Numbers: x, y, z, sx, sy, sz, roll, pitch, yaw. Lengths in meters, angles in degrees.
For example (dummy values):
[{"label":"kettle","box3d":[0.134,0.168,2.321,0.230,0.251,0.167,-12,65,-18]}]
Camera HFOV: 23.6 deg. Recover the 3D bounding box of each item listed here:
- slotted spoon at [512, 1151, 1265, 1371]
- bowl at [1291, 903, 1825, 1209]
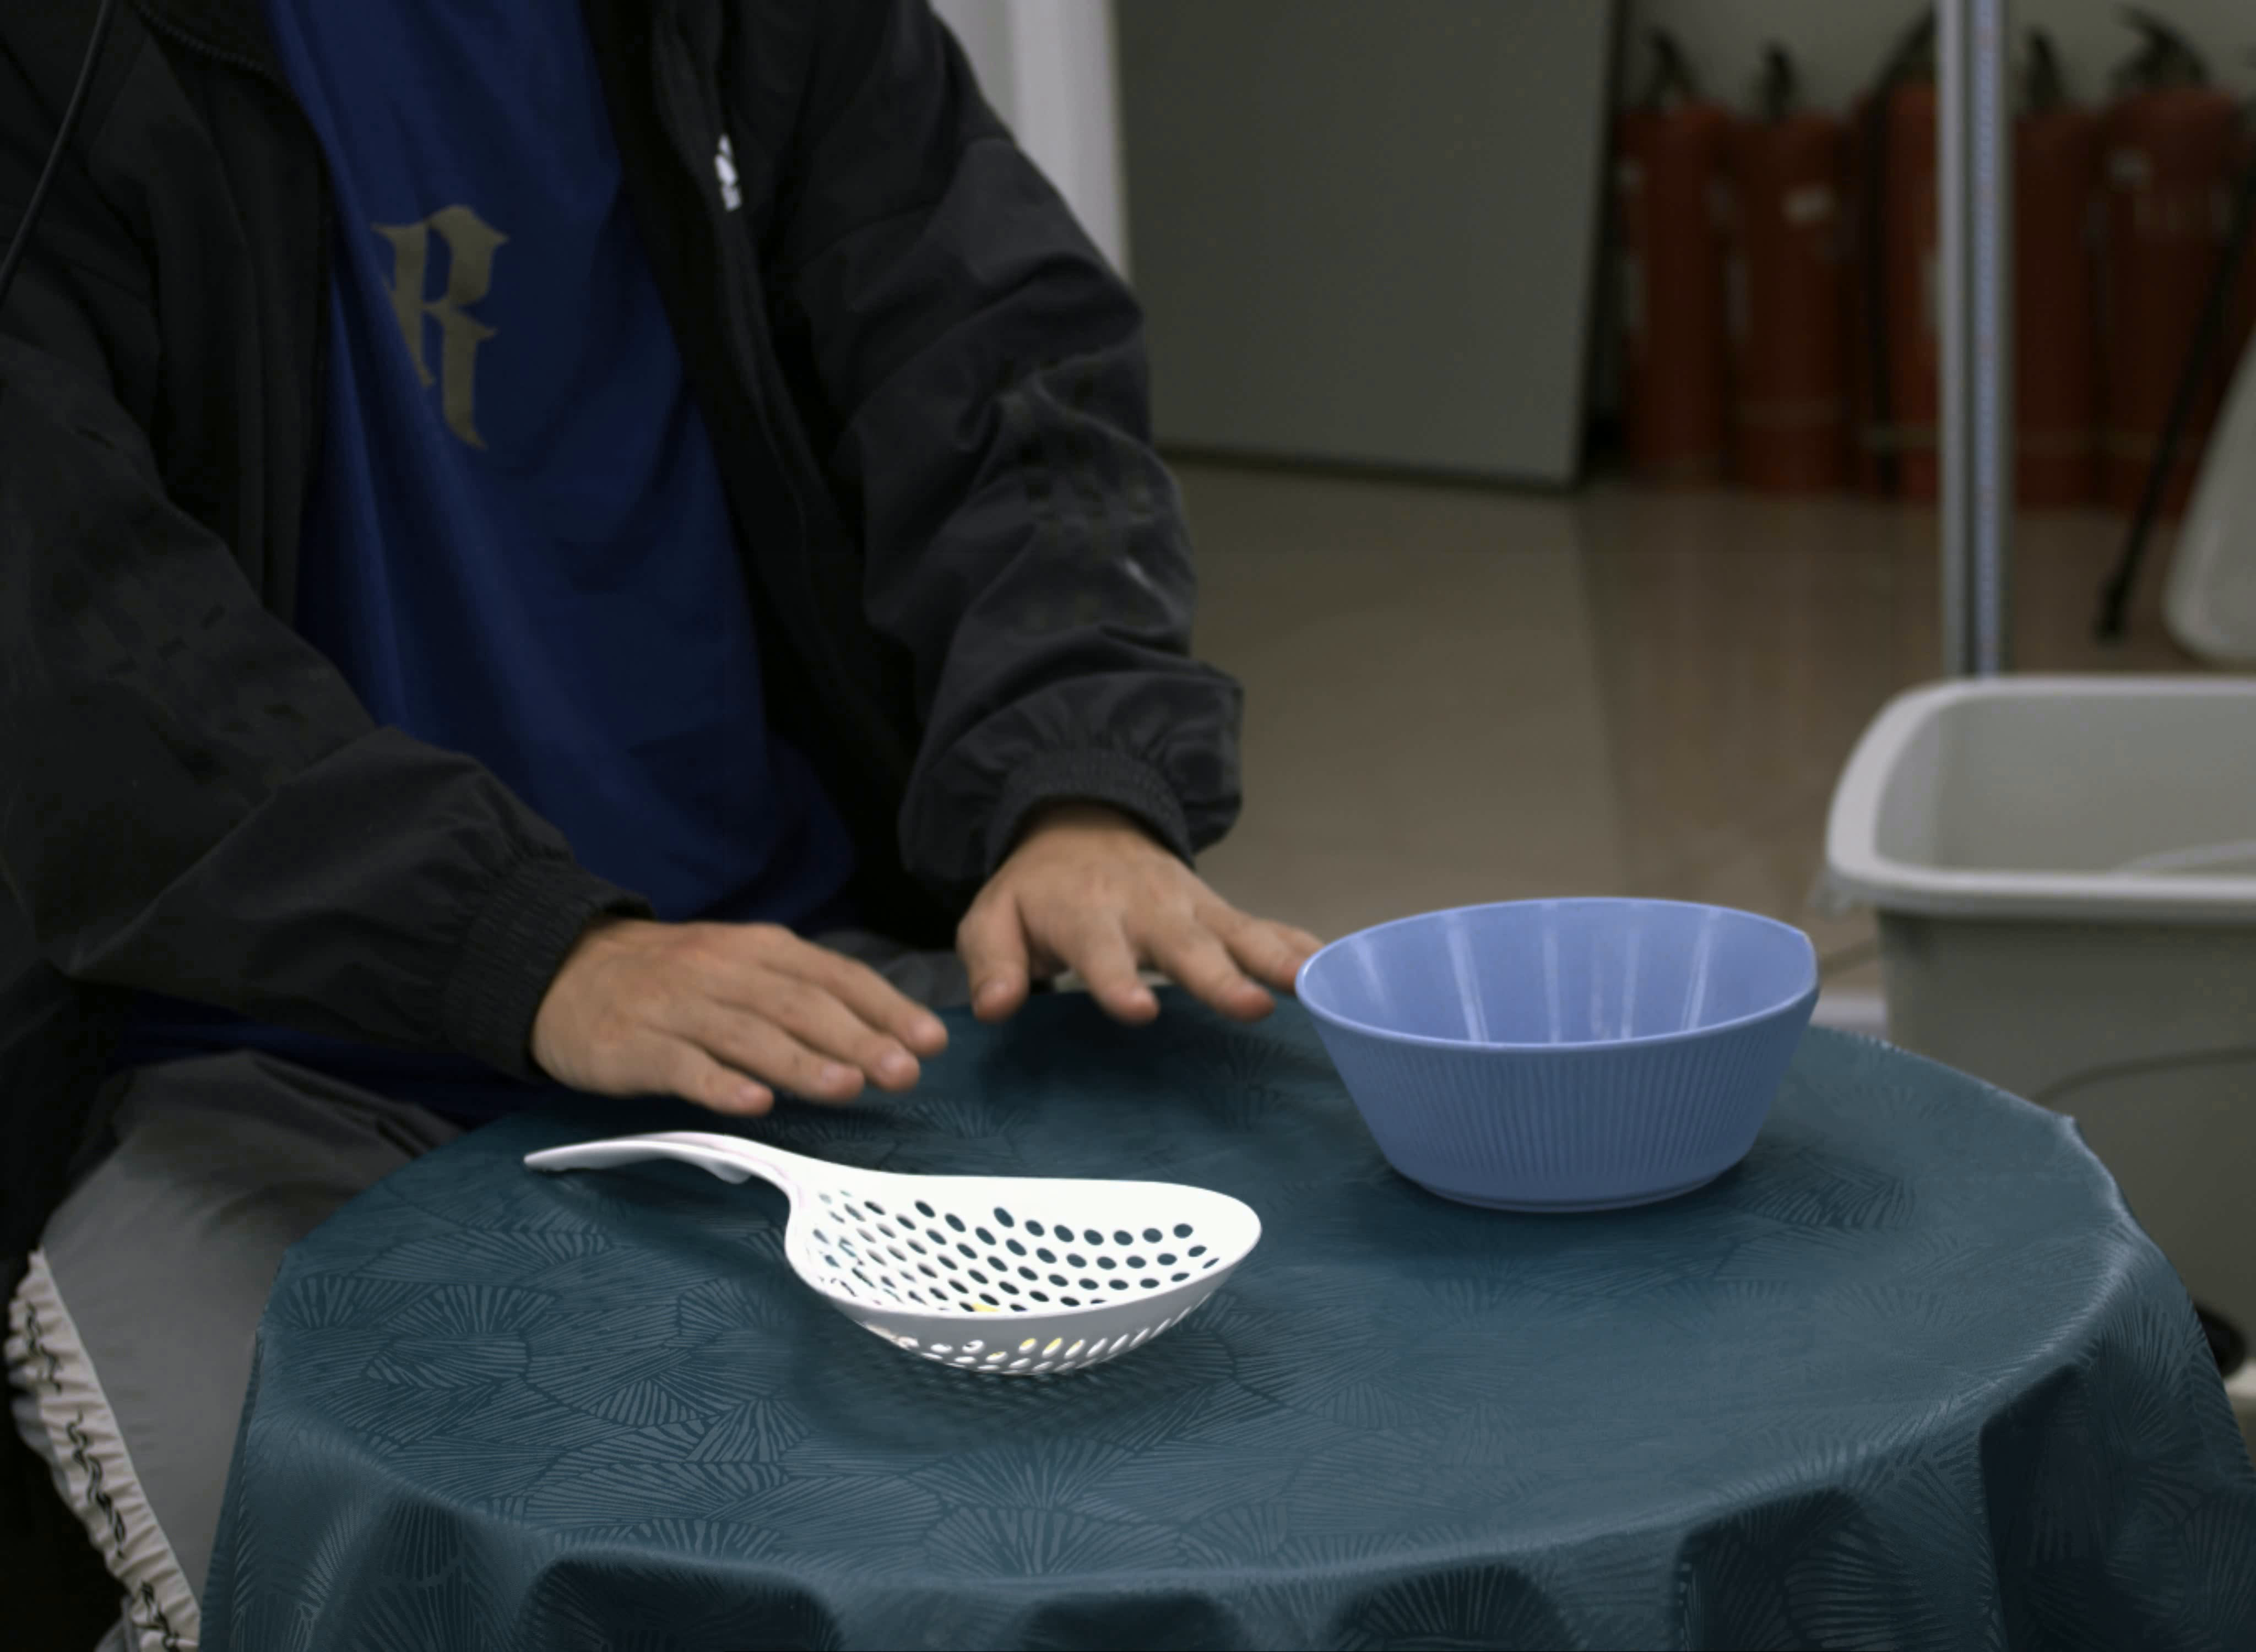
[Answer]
[{"label":"slotted spoon","box3d":[-0.093,0.124,1.698,0.134,0.051,0.351,-18,19,-35]},{"label":"bowl","box3d":[0.141,0.077,1.762,0.174,0.071,0.176,-4,13,0]}]
